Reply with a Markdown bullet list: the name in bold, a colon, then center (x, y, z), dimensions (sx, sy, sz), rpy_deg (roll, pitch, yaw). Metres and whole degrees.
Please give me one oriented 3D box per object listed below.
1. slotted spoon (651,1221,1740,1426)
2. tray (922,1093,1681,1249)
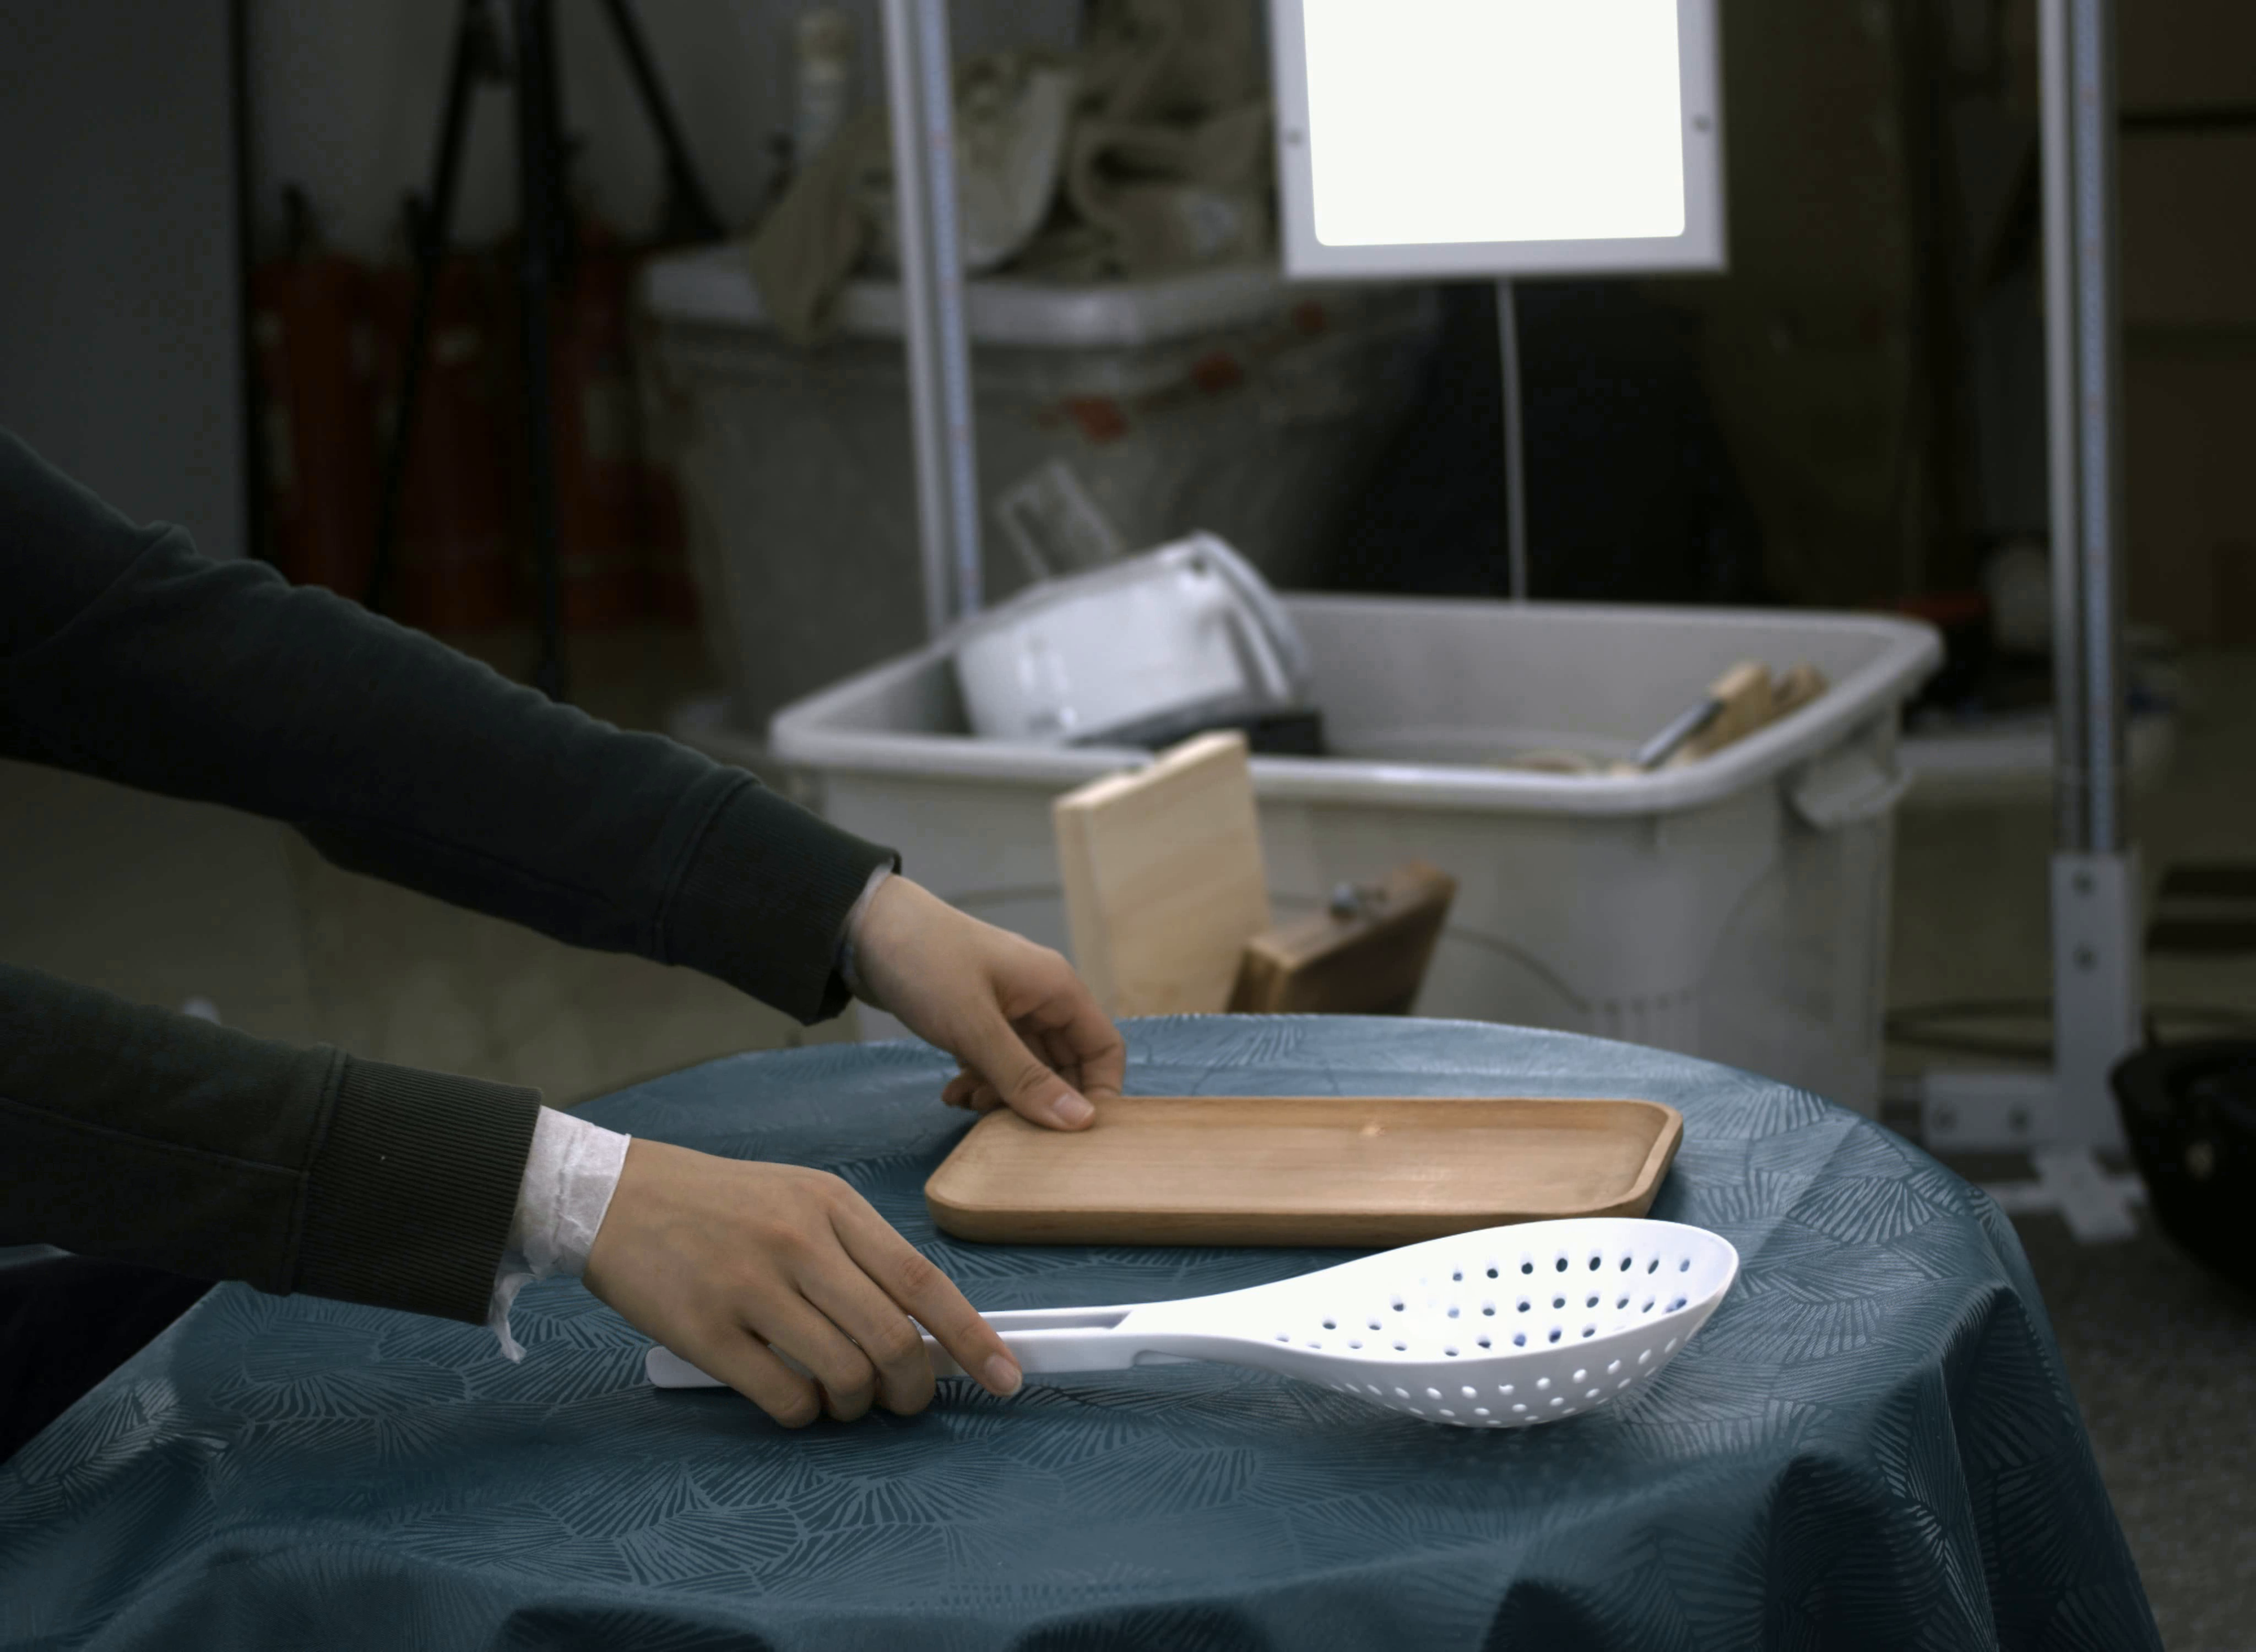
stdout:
- **slotted spoon**: center (0.016, 0.154, 1.684), dimensions (0.354, 0.046, 0.133), rpy_deg (-1, 12, 21)
- **tray**: center (0.060, 0.117, 1.878), dimensions (0.253, 0.023, 0.128), rpy_deg (-2, 12, 17)
